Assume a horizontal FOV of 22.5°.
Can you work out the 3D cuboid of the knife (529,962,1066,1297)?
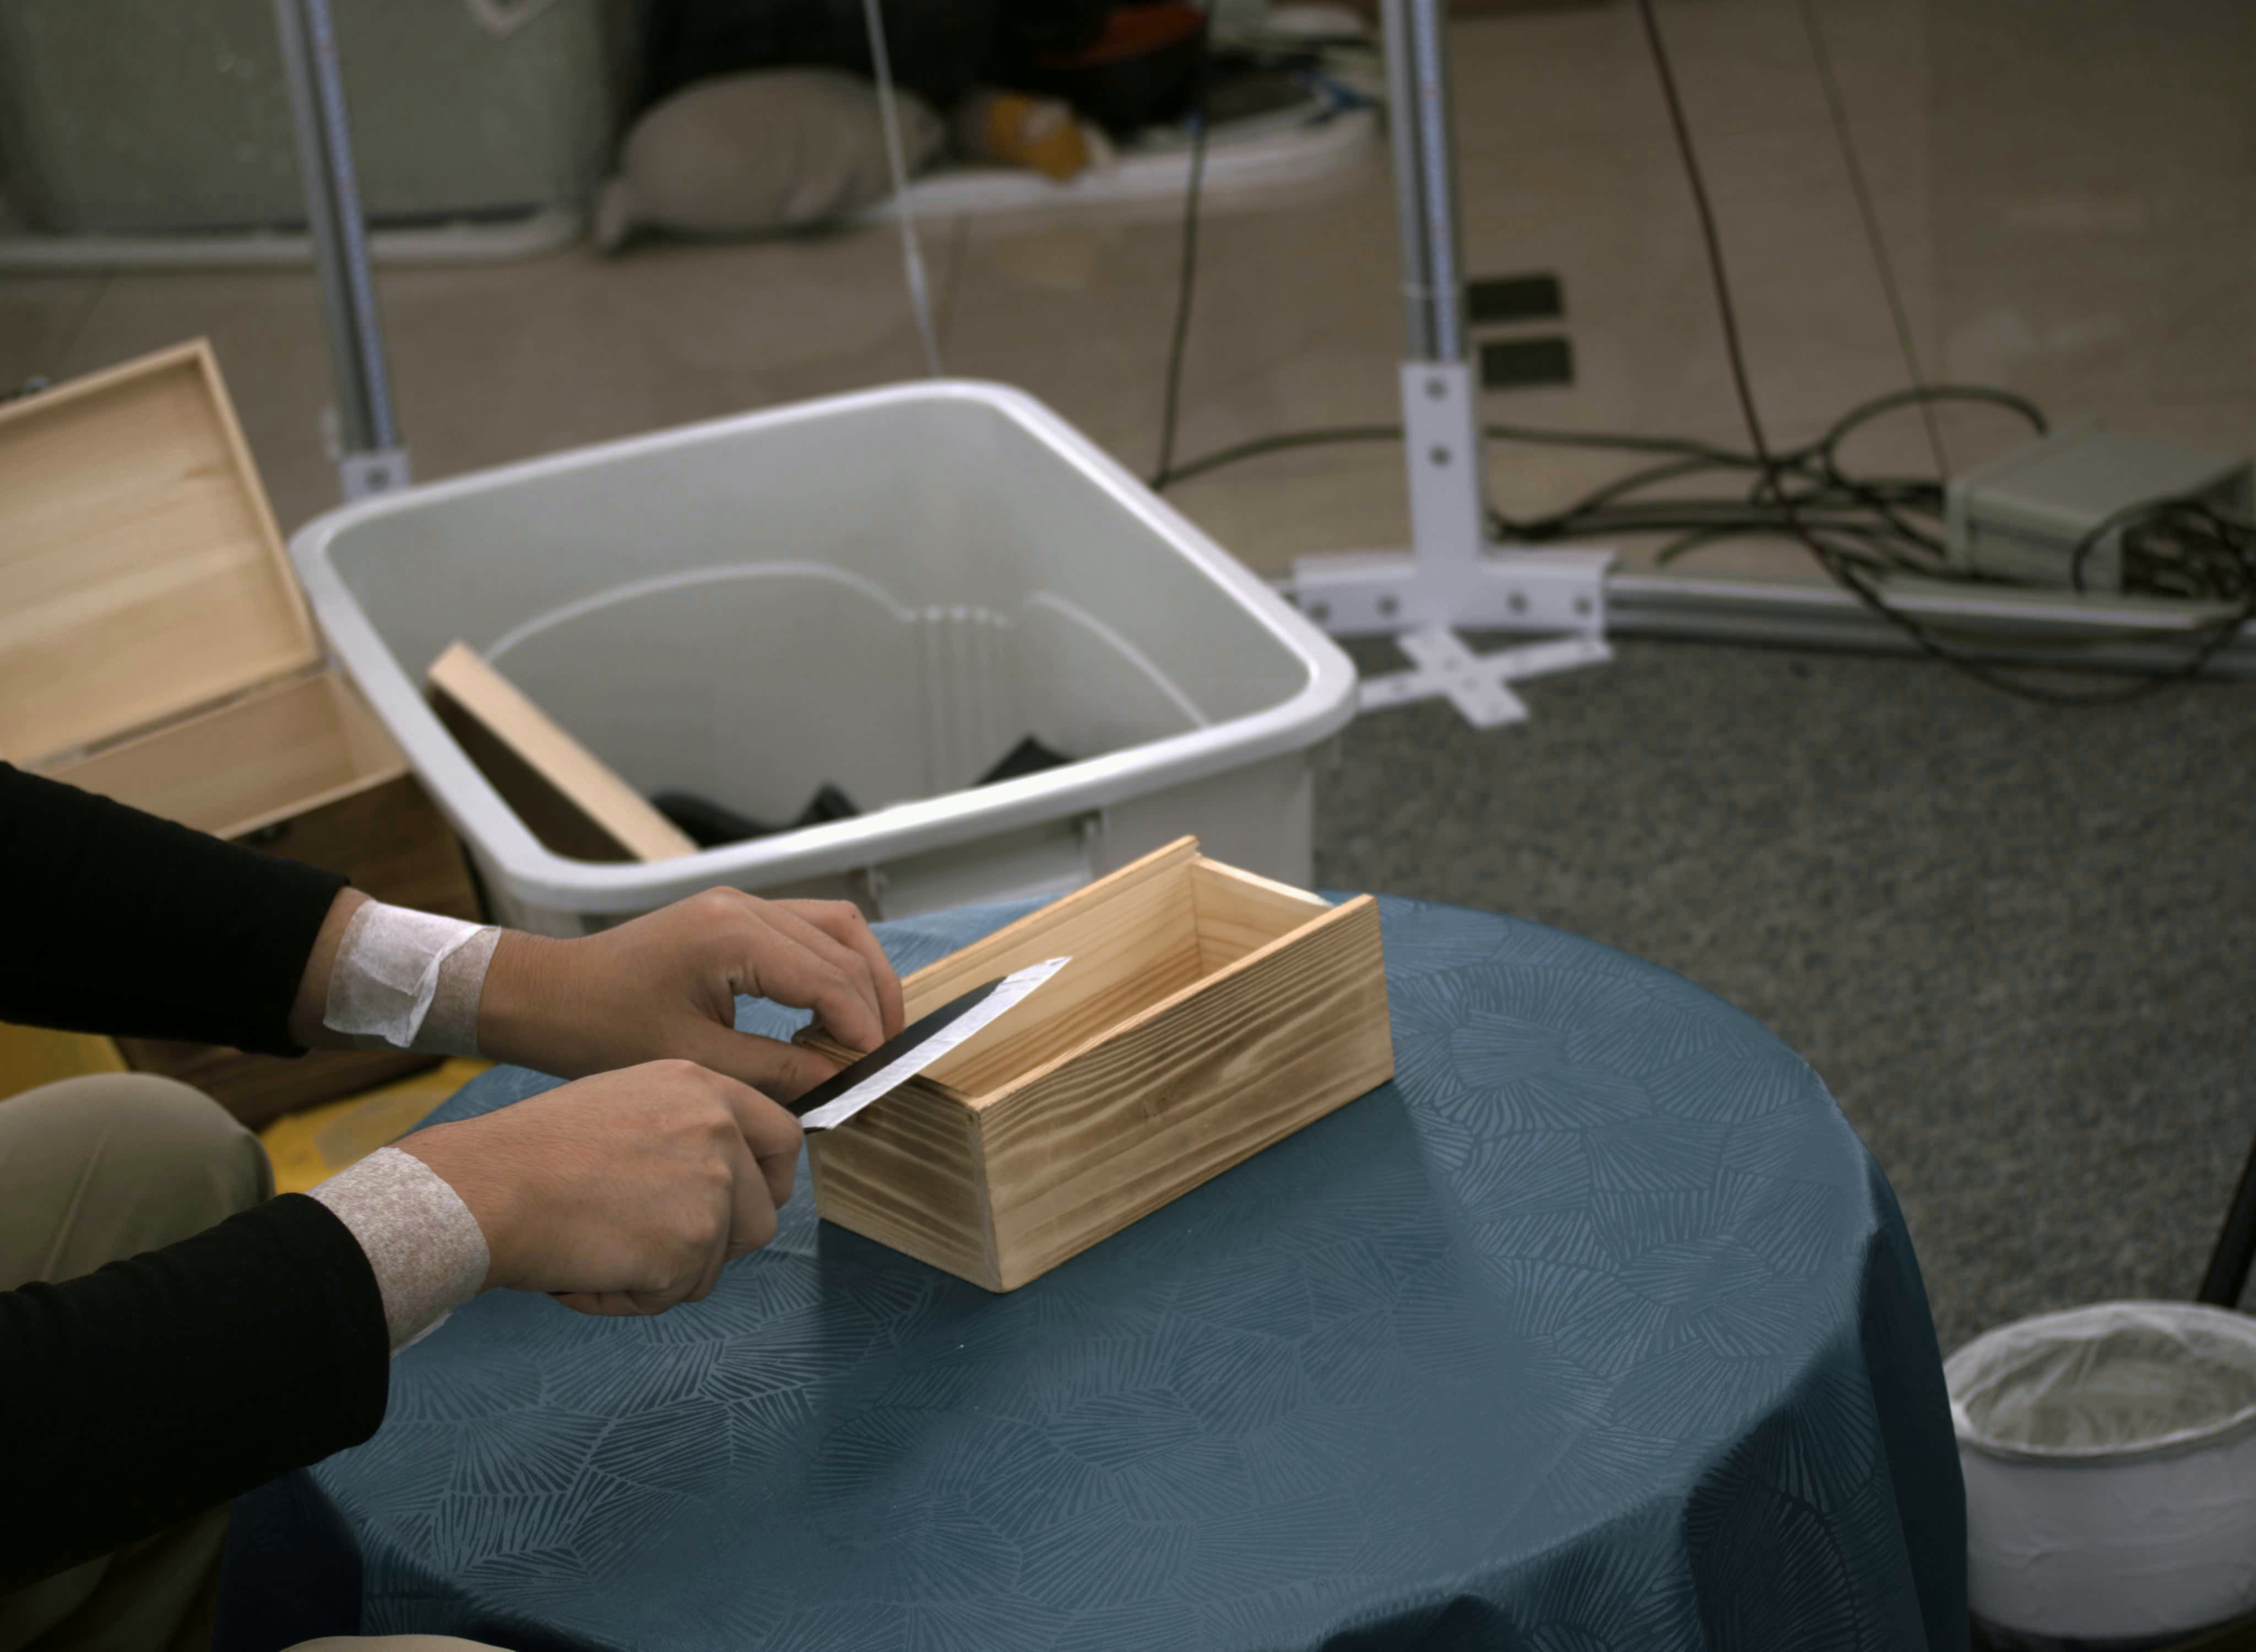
[{"bbox_3d":[-0.113,0.103,2.038,0.050,0.020,0.286,-4,18,41],"label":"knife"}]

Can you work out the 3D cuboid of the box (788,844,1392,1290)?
[{"bbox_3d":[-0.012,0.089,2.164,0.209,0.081,0.106,-26,31,-37],"label":"box"}]
